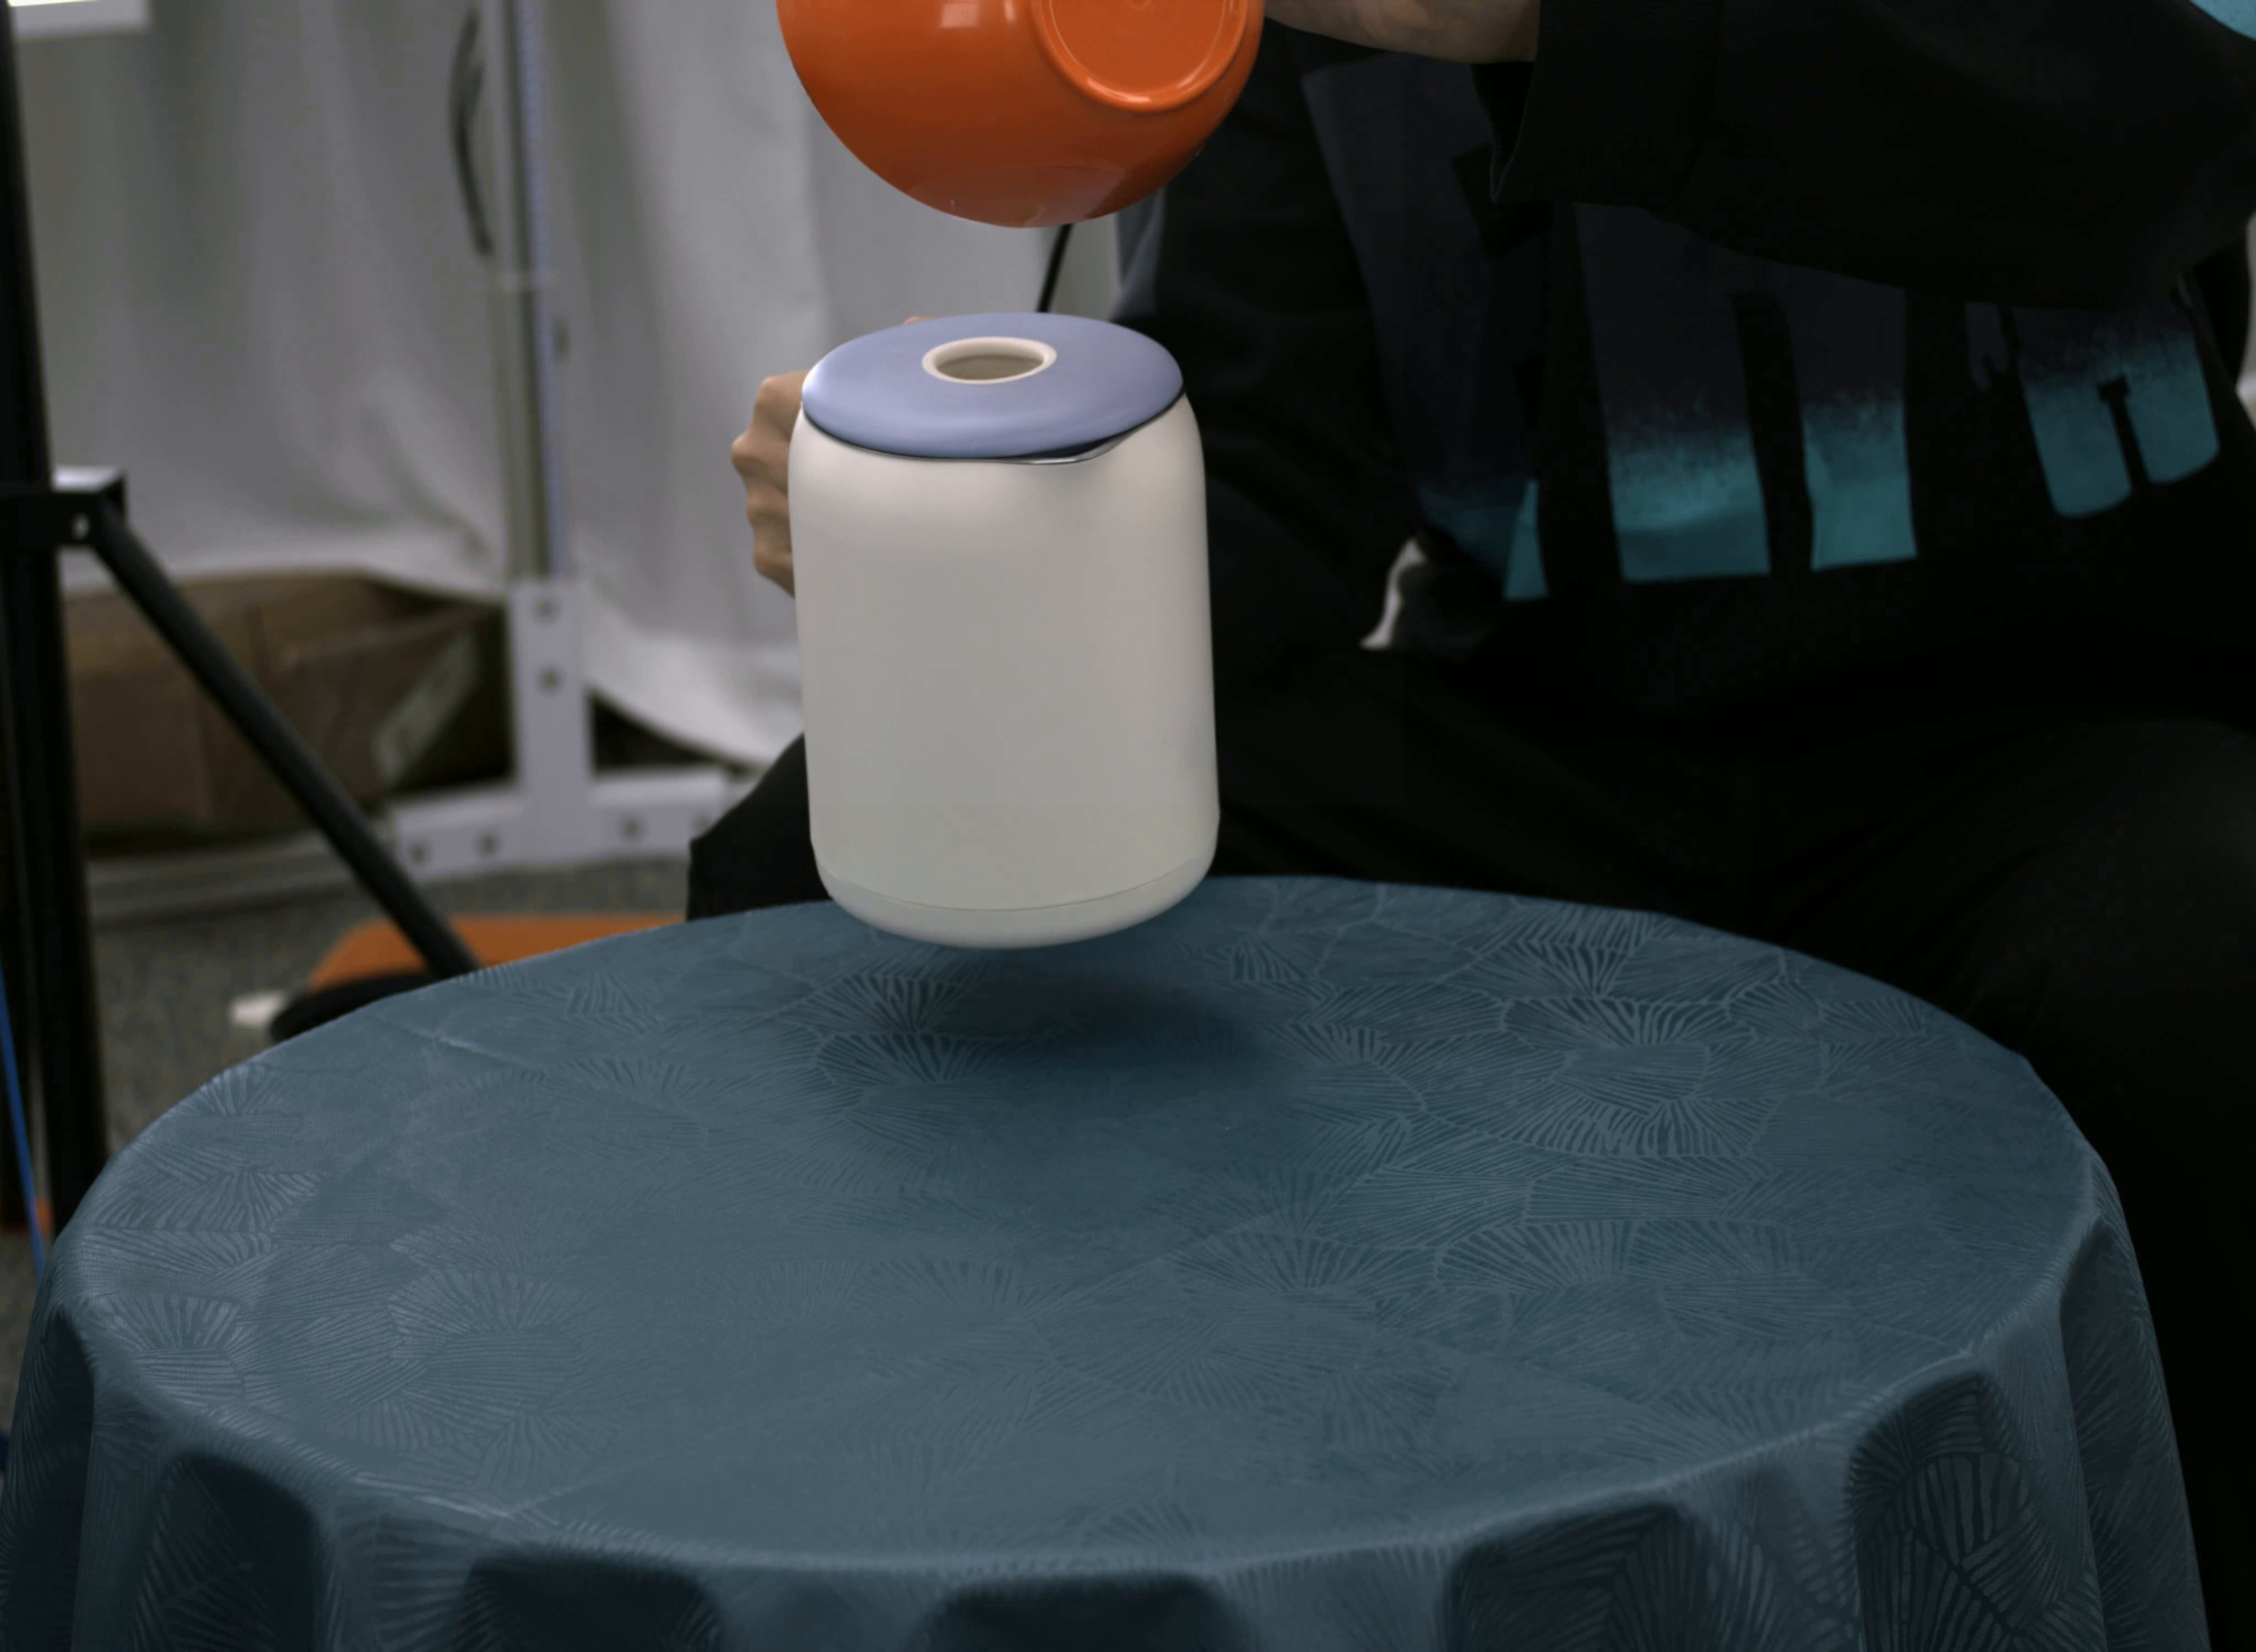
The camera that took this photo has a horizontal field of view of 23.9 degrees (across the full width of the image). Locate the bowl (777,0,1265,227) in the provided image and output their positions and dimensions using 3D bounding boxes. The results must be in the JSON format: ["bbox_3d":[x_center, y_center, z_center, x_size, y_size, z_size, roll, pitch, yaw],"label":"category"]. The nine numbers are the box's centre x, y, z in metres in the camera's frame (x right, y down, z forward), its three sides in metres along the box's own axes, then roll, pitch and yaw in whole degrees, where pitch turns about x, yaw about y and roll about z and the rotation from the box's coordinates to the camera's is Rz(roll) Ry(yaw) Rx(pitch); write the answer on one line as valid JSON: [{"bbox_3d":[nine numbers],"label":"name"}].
[{"bbox_3d":[-0.019,-0.249,1.560,0.145,0.148,0.106,-8,7,-19],"label":"bowl"}]

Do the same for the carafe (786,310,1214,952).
[{"bbox_3d":[-0.051,-0.070,1.705,0.130,0.182,0.195,-12,23,-23],"label":"carafe"}]
